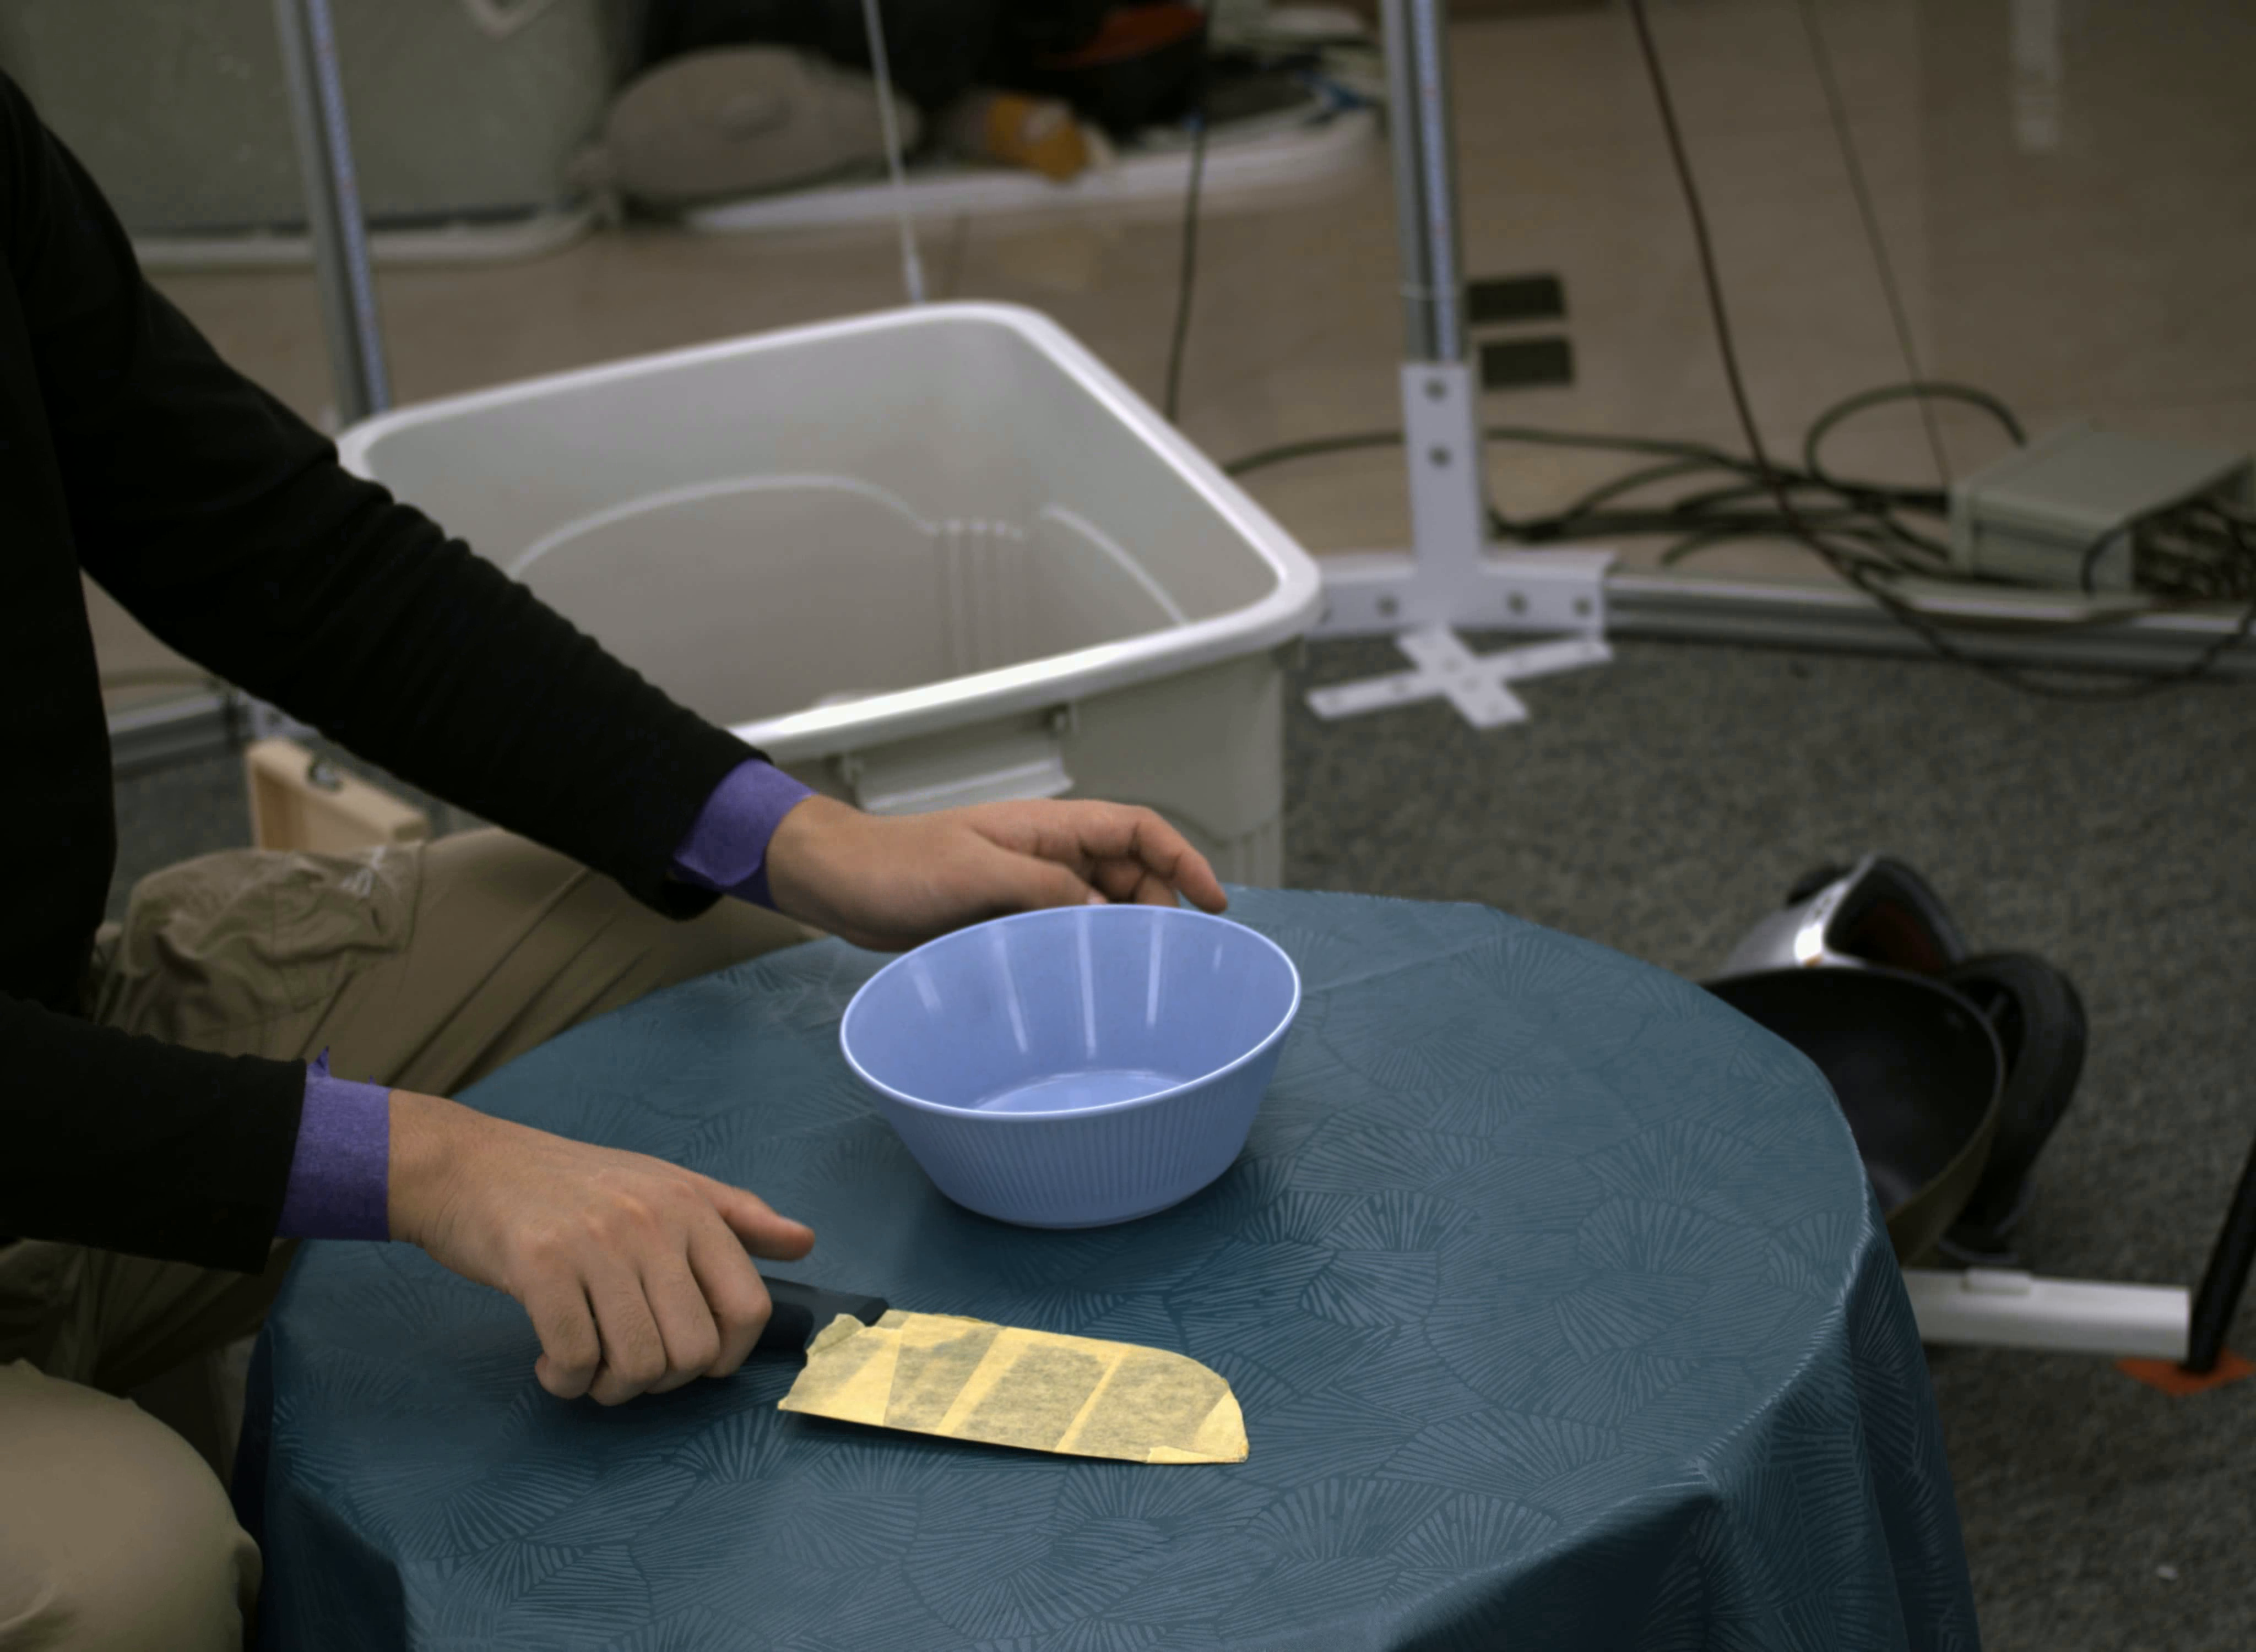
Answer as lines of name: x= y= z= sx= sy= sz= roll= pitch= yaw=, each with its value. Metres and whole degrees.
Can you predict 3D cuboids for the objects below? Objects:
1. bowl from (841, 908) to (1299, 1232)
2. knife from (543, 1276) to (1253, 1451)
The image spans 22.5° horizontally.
bowl: x=-0.019 y=0.099 z=2.159 sx=0.176 sy=0.071 sz=0.173 roll=-5 pitch=26 yaw=3
knife: x=-0.089 y=0.194 z=2.037 sx=0.288 sy=0.027 sz=0.080 roll=6 pitch=27 yaw=23
